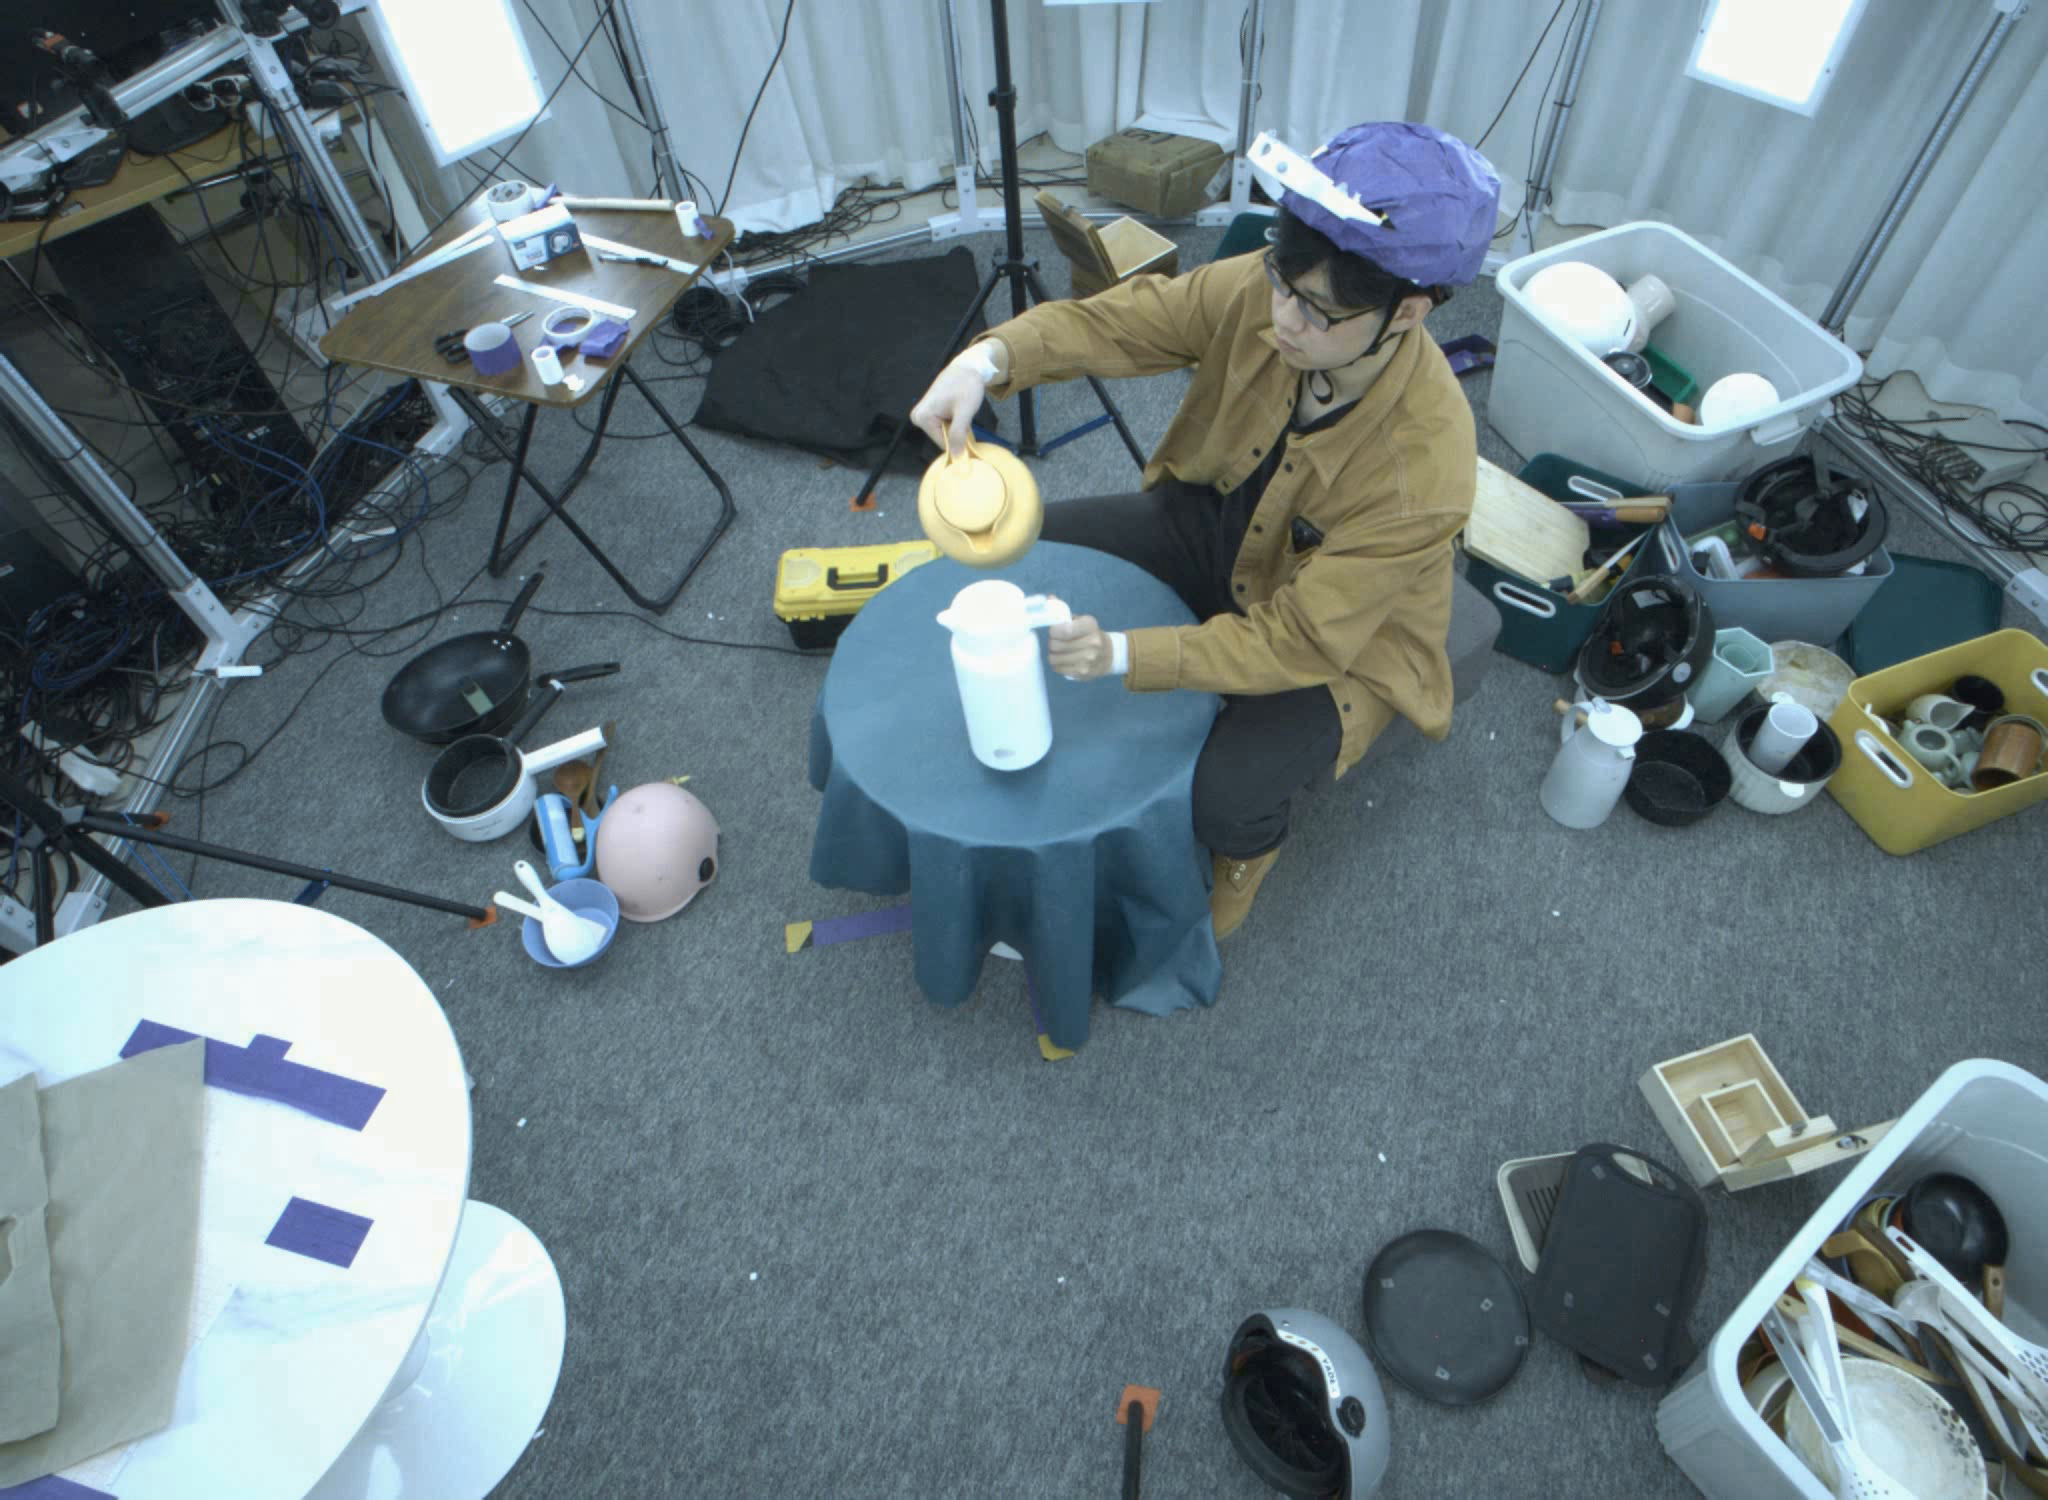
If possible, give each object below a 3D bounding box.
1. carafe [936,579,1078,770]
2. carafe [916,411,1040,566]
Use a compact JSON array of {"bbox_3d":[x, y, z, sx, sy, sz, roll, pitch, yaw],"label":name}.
[{"bbox_3d":[-0.015,-0.101,1.649,0.173,0.272,0.122,-8,48,0],"label":"carafe"},{"bbox_3d":[-0.065,-0.346,1.615,0.163,0.259,0.203,-11,98,1],"label":"carafe"}]
